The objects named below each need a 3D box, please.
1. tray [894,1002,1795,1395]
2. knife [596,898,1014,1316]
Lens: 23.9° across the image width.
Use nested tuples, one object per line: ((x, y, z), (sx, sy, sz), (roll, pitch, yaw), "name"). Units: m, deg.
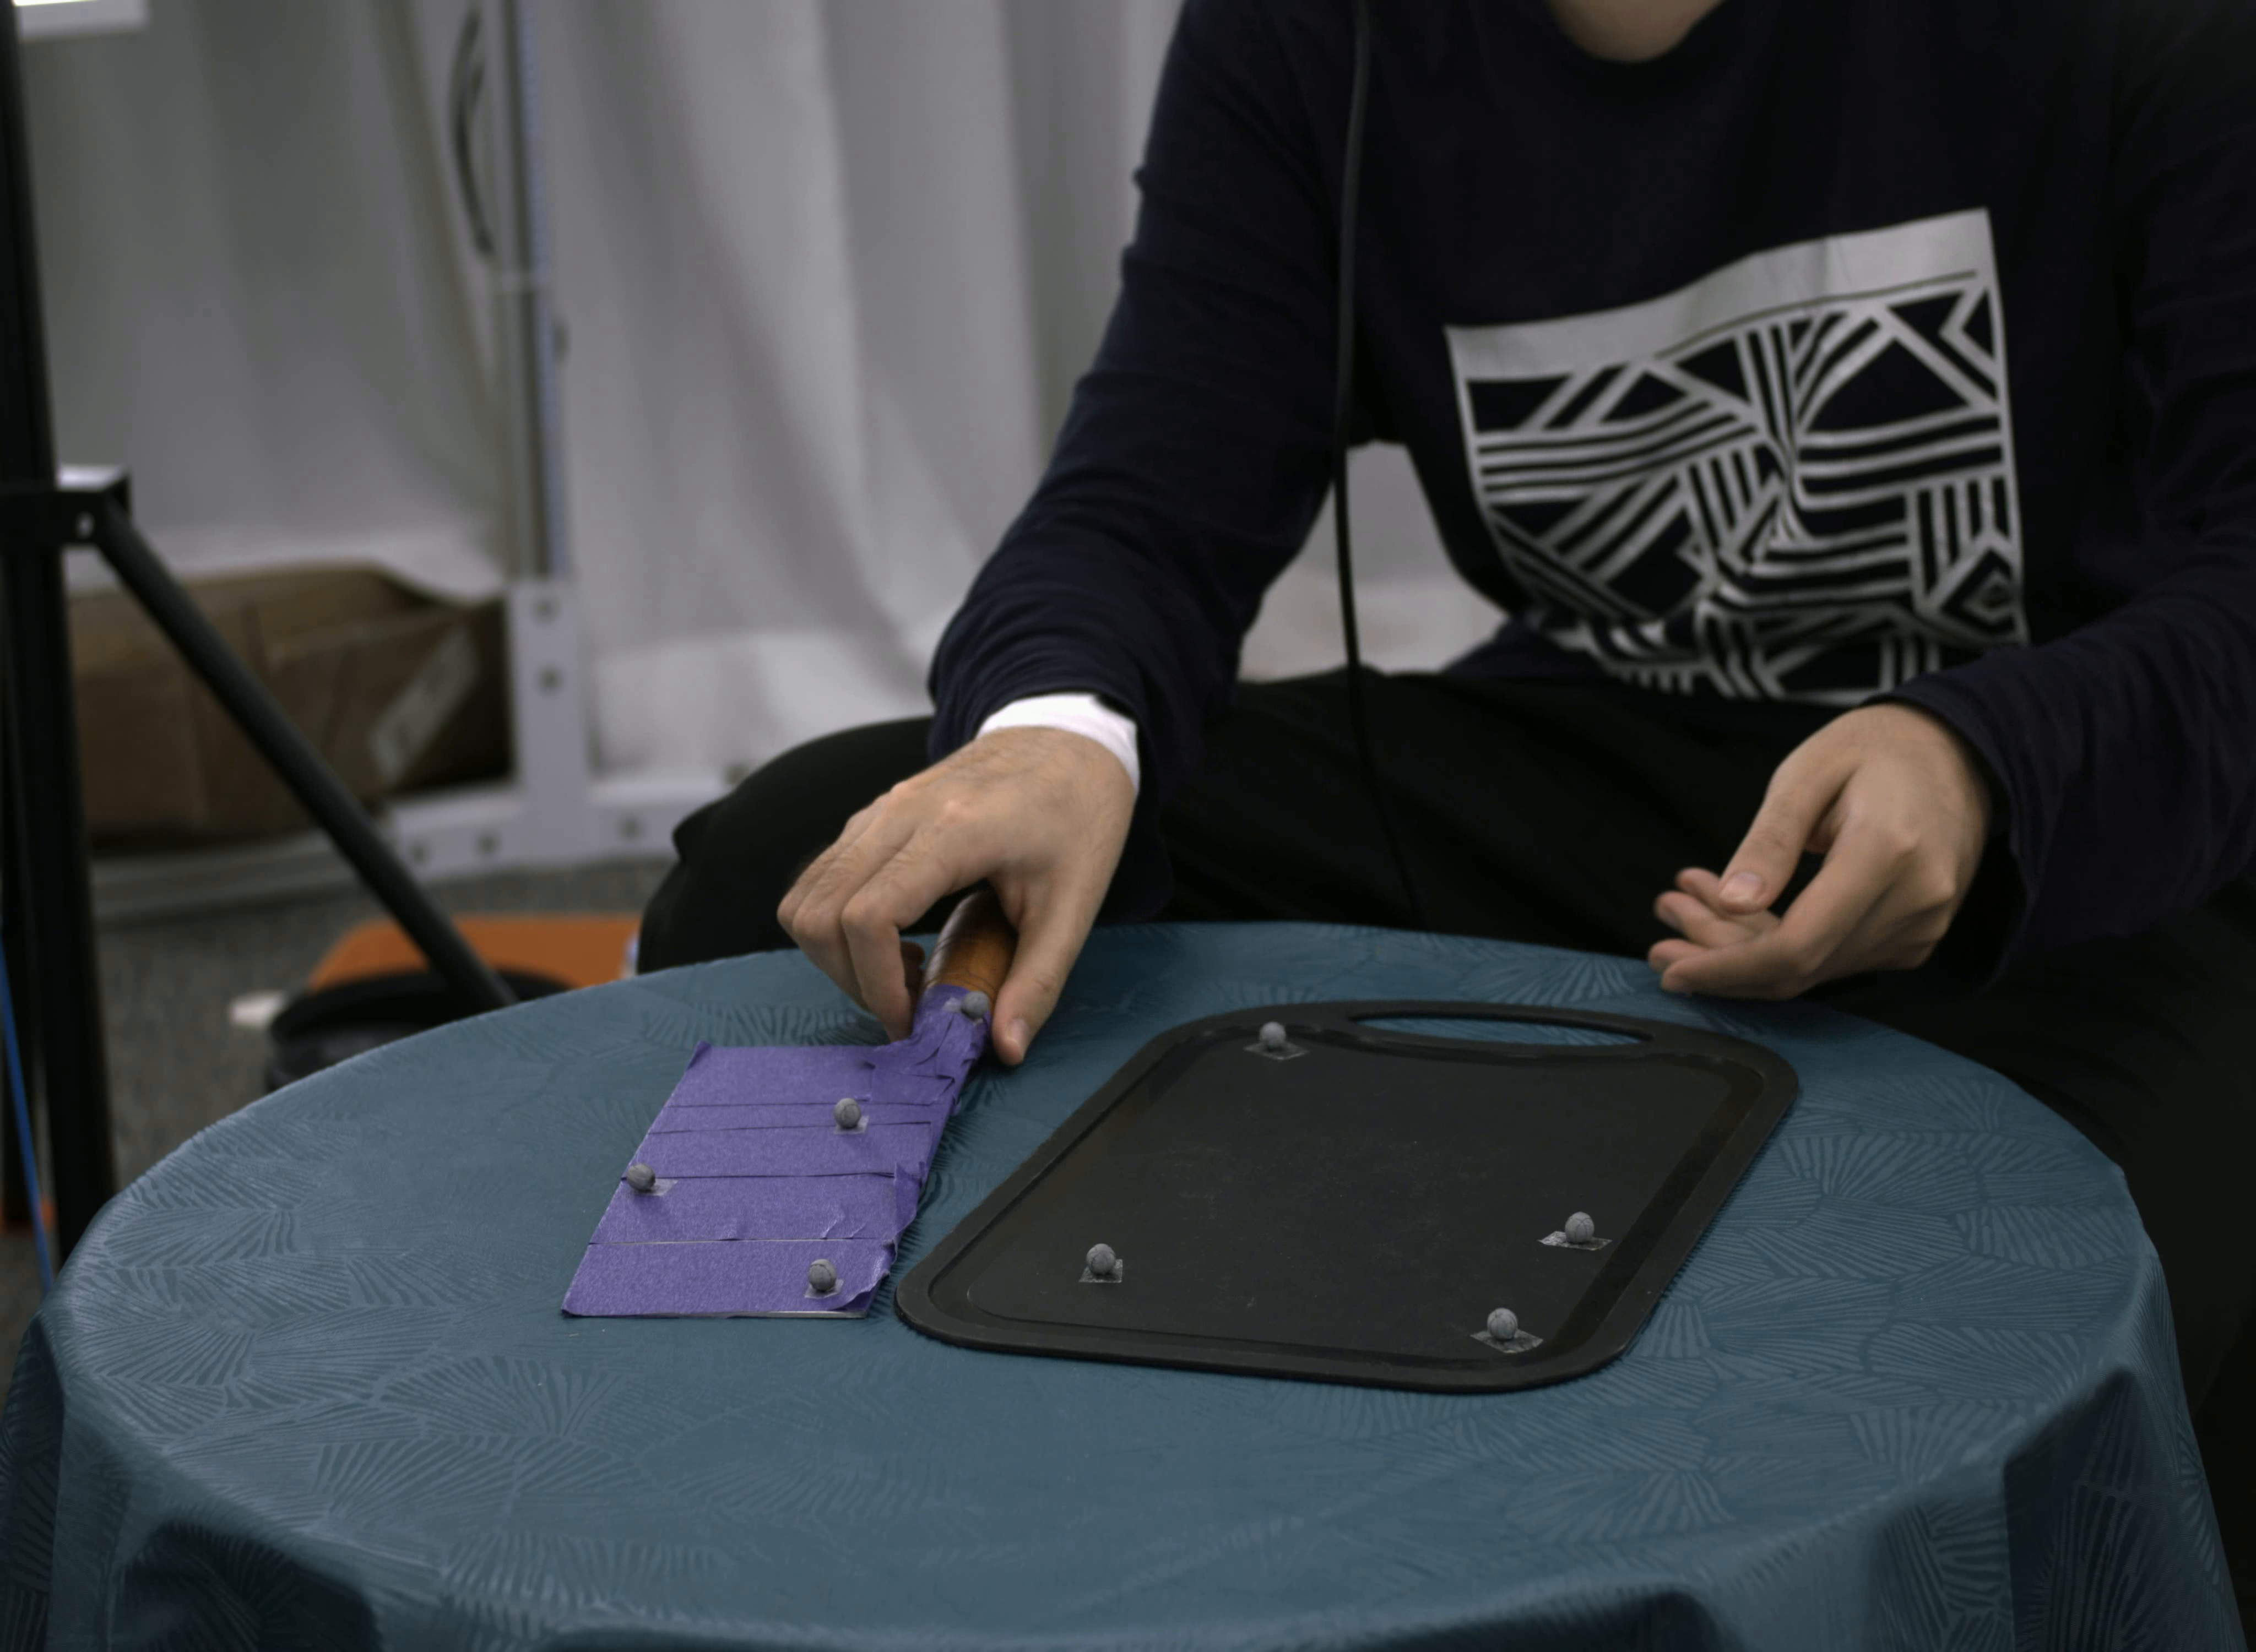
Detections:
((0.072, 0.101, 1.563), (0.213, 0.010, 0.321), (4, 17, 20), "tray")
((-0.096, 0.082, 1.619), (0.104, 0.032, 0.315), (0, 17, 6), "knife")
